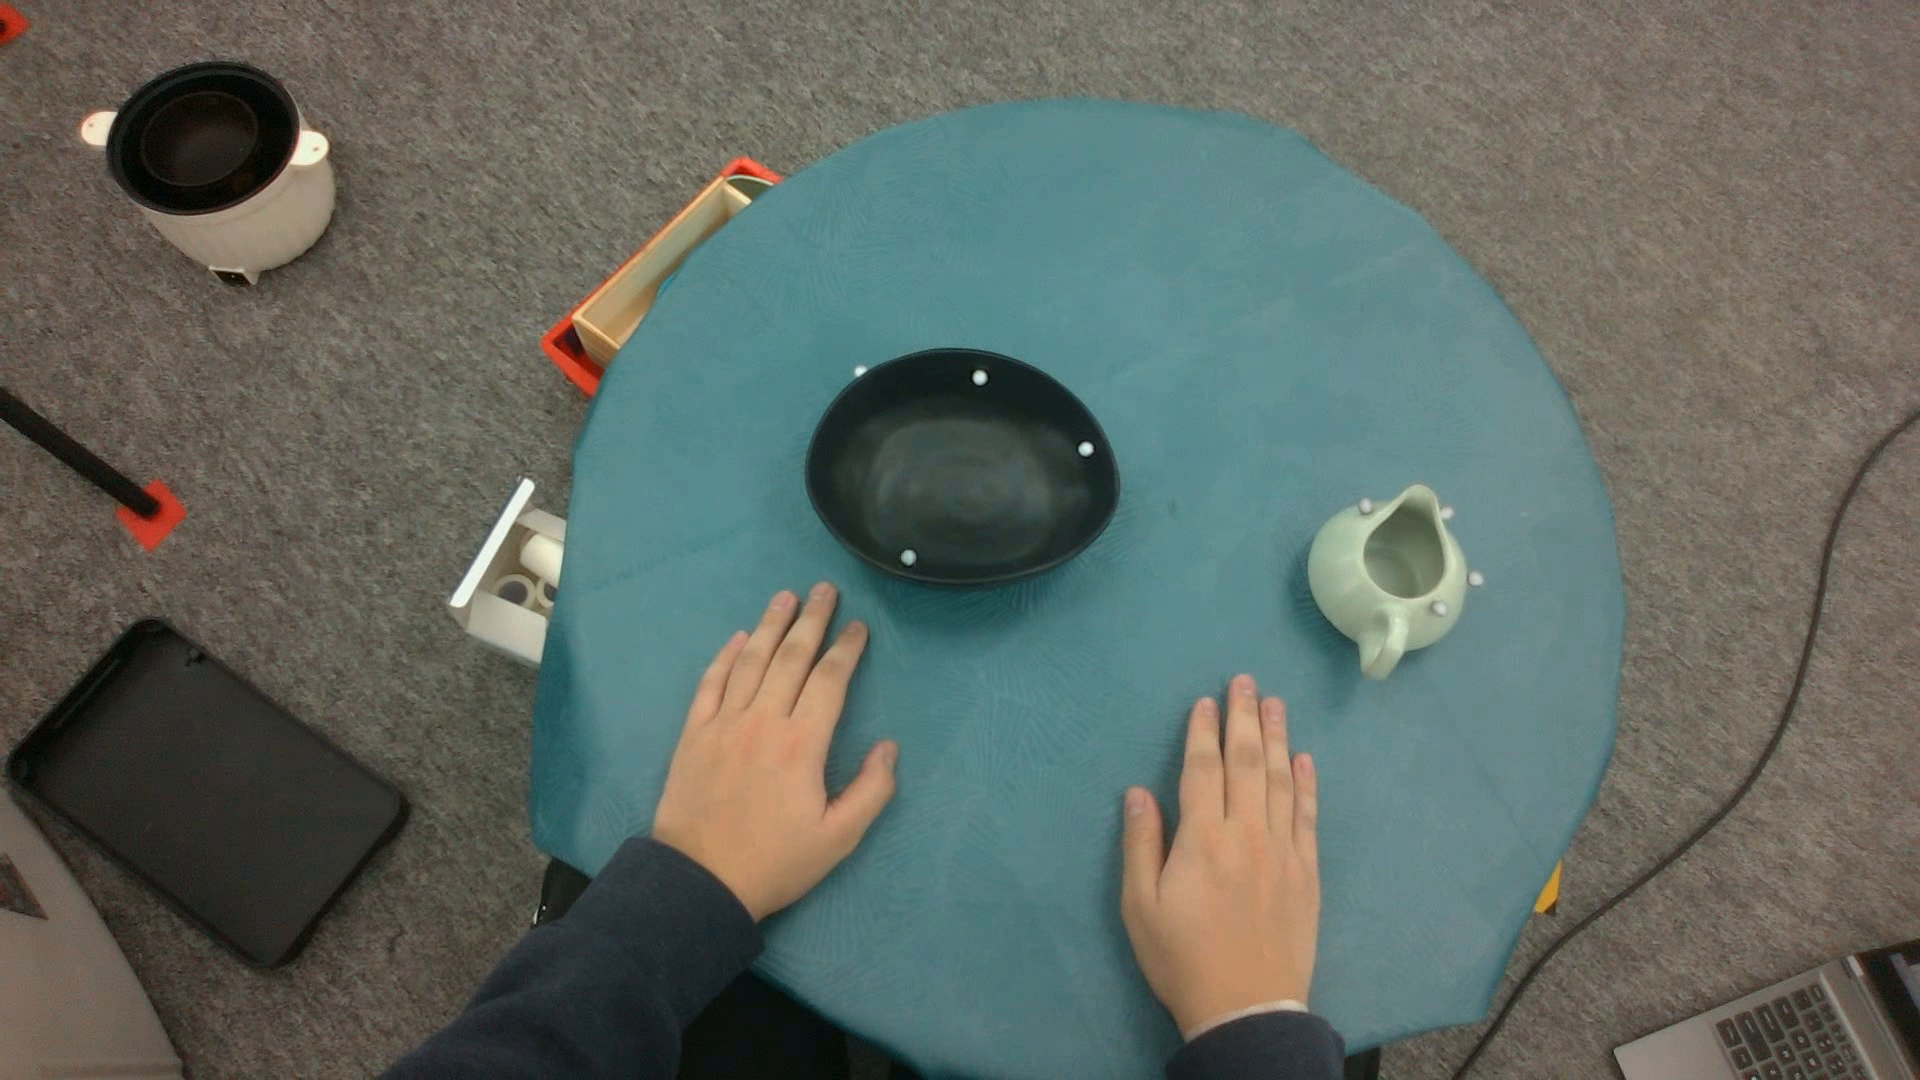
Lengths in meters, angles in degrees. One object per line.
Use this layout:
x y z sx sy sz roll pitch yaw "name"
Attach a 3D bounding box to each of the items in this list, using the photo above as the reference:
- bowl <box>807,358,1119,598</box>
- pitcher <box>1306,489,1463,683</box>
0.002 -0.027 0.768 0.170 0.066 0.138 3 69 -2 "bowl"
0.234 0.029 0.759 0.086 0.060 0.108 14 71 4 "pitcher"
